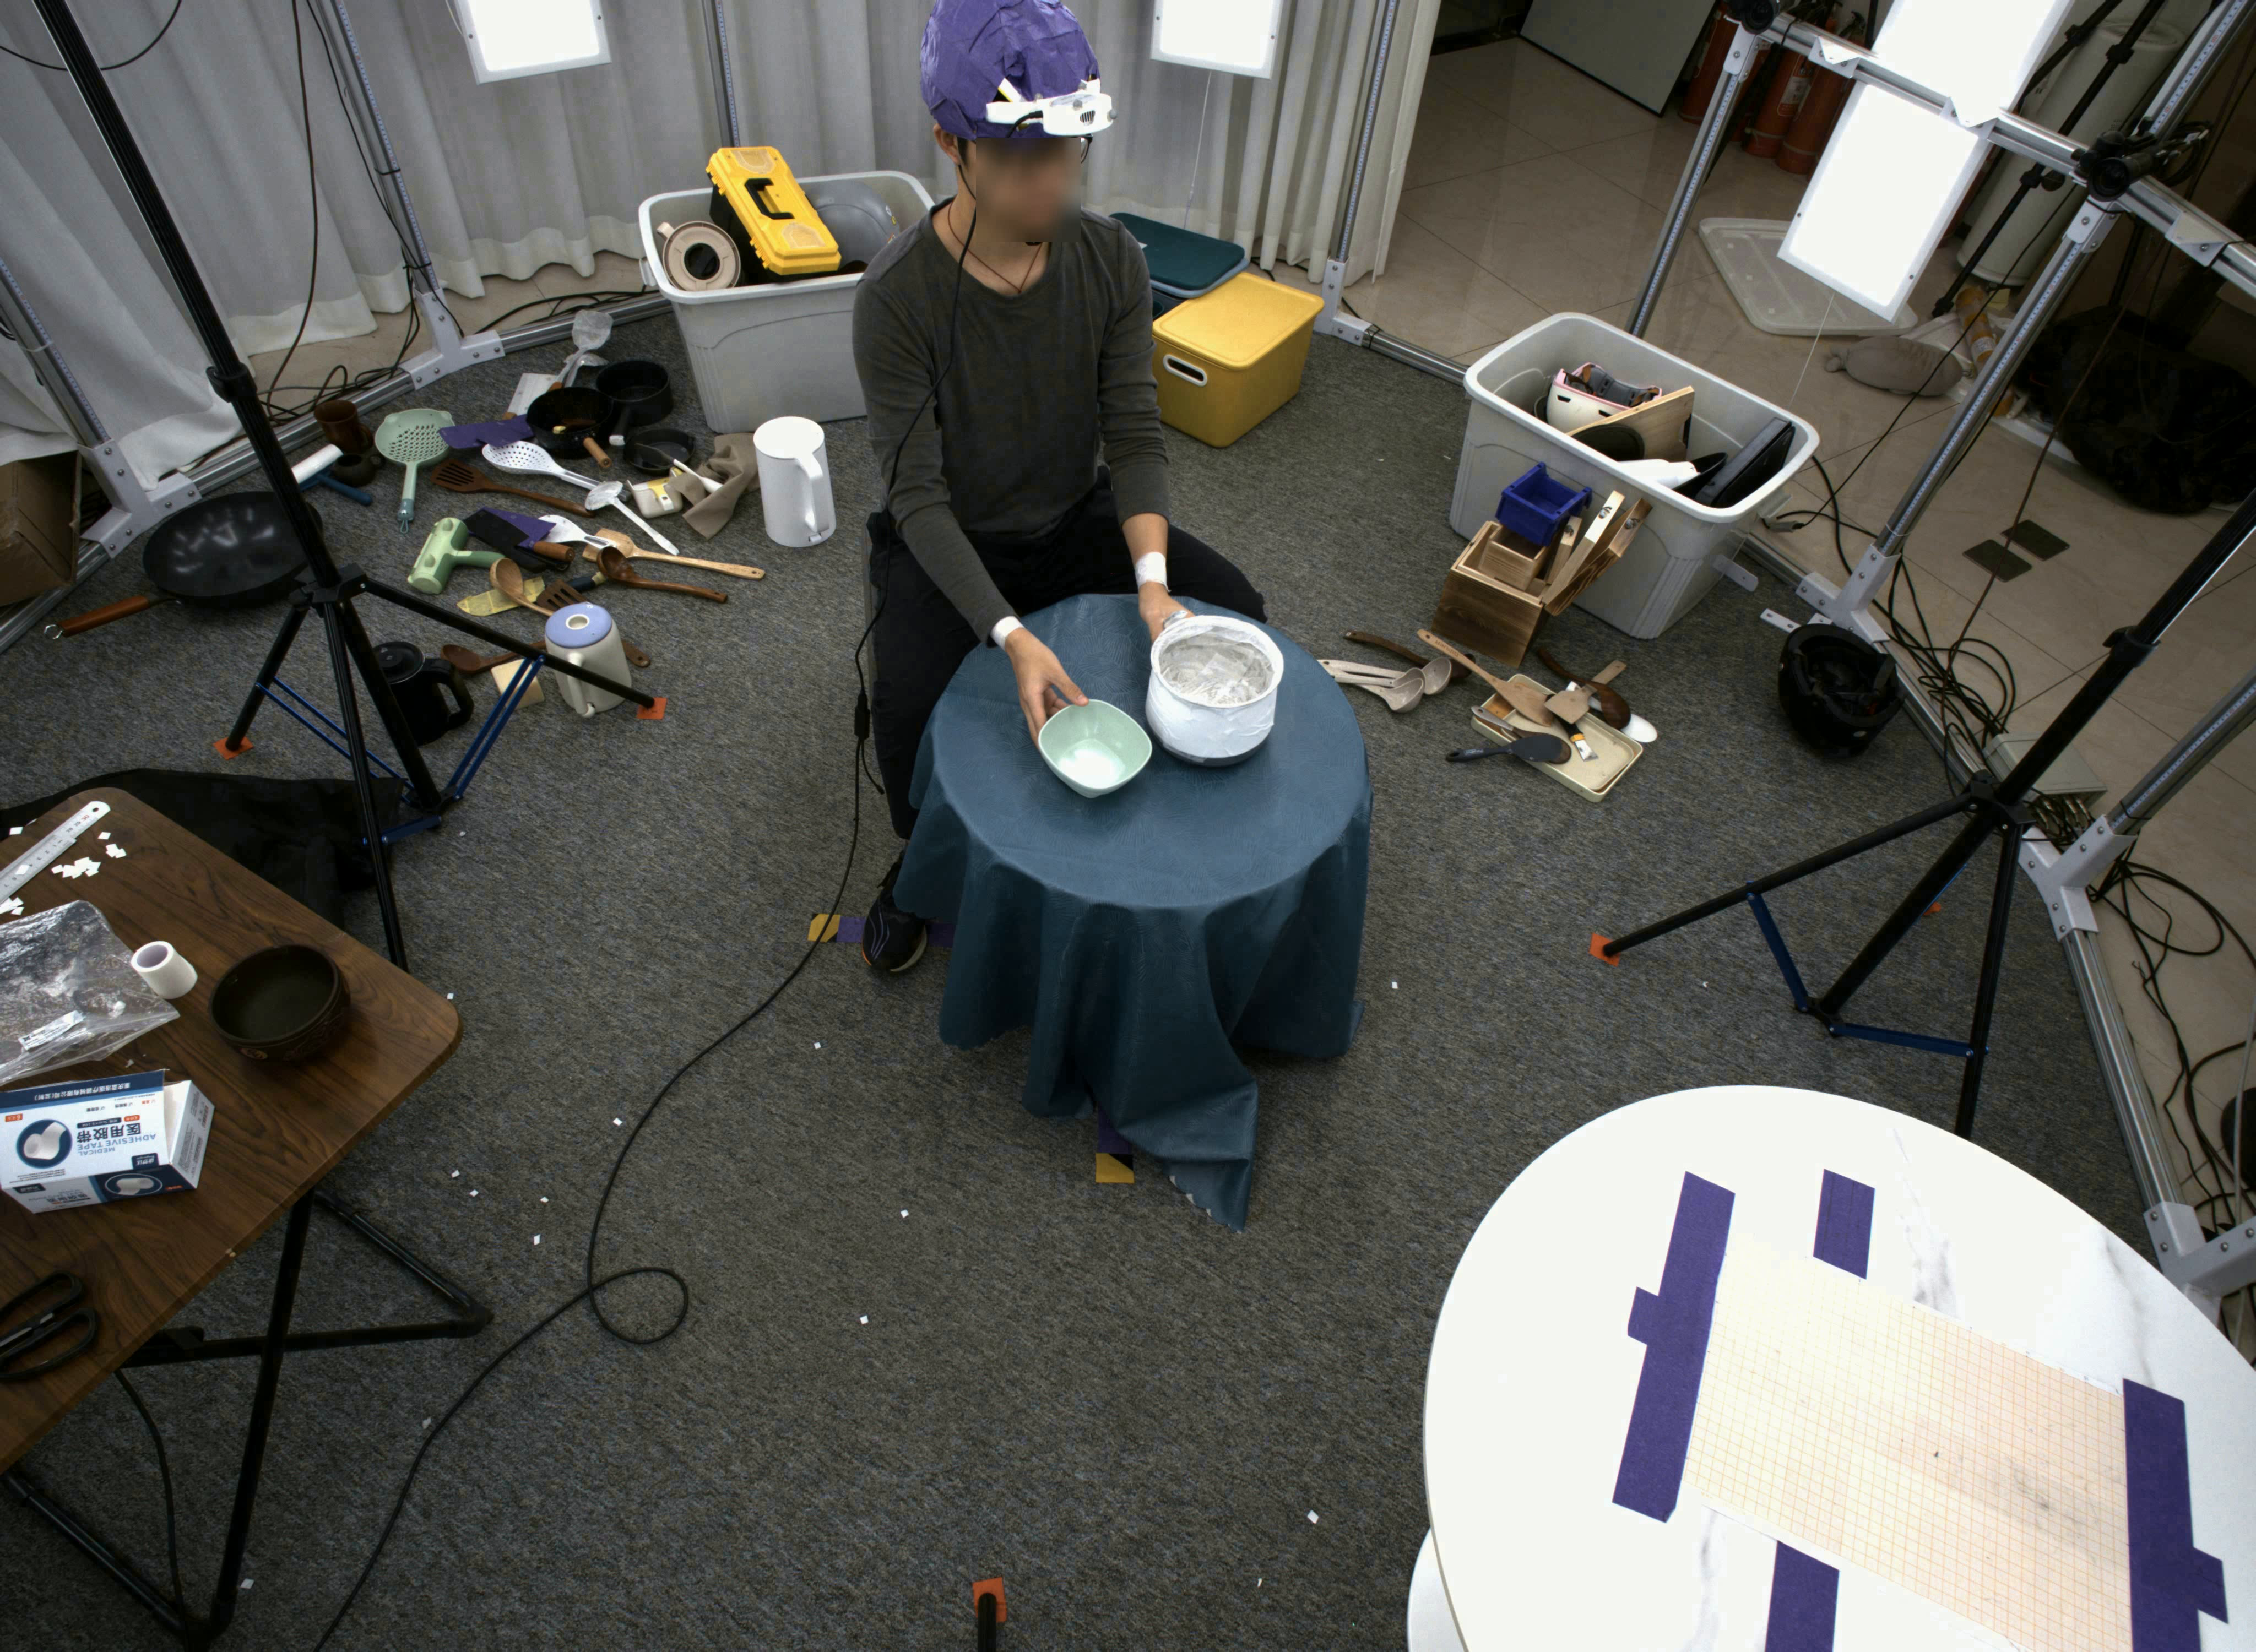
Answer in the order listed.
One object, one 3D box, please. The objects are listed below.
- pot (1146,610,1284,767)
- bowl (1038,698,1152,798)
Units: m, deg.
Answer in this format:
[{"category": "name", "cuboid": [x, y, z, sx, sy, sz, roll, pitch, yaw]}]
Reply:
[{"category": "pot", "cuboid": [0.101, -0.198, 1.759, 0.179, 0.133, 0.239, -20, 53, -19]}, {"category": "bowl", "cuboid": [-0.048, -0.093, 1.702, 0.151, 0.057, 0.155, 6, 54, -8]}]
